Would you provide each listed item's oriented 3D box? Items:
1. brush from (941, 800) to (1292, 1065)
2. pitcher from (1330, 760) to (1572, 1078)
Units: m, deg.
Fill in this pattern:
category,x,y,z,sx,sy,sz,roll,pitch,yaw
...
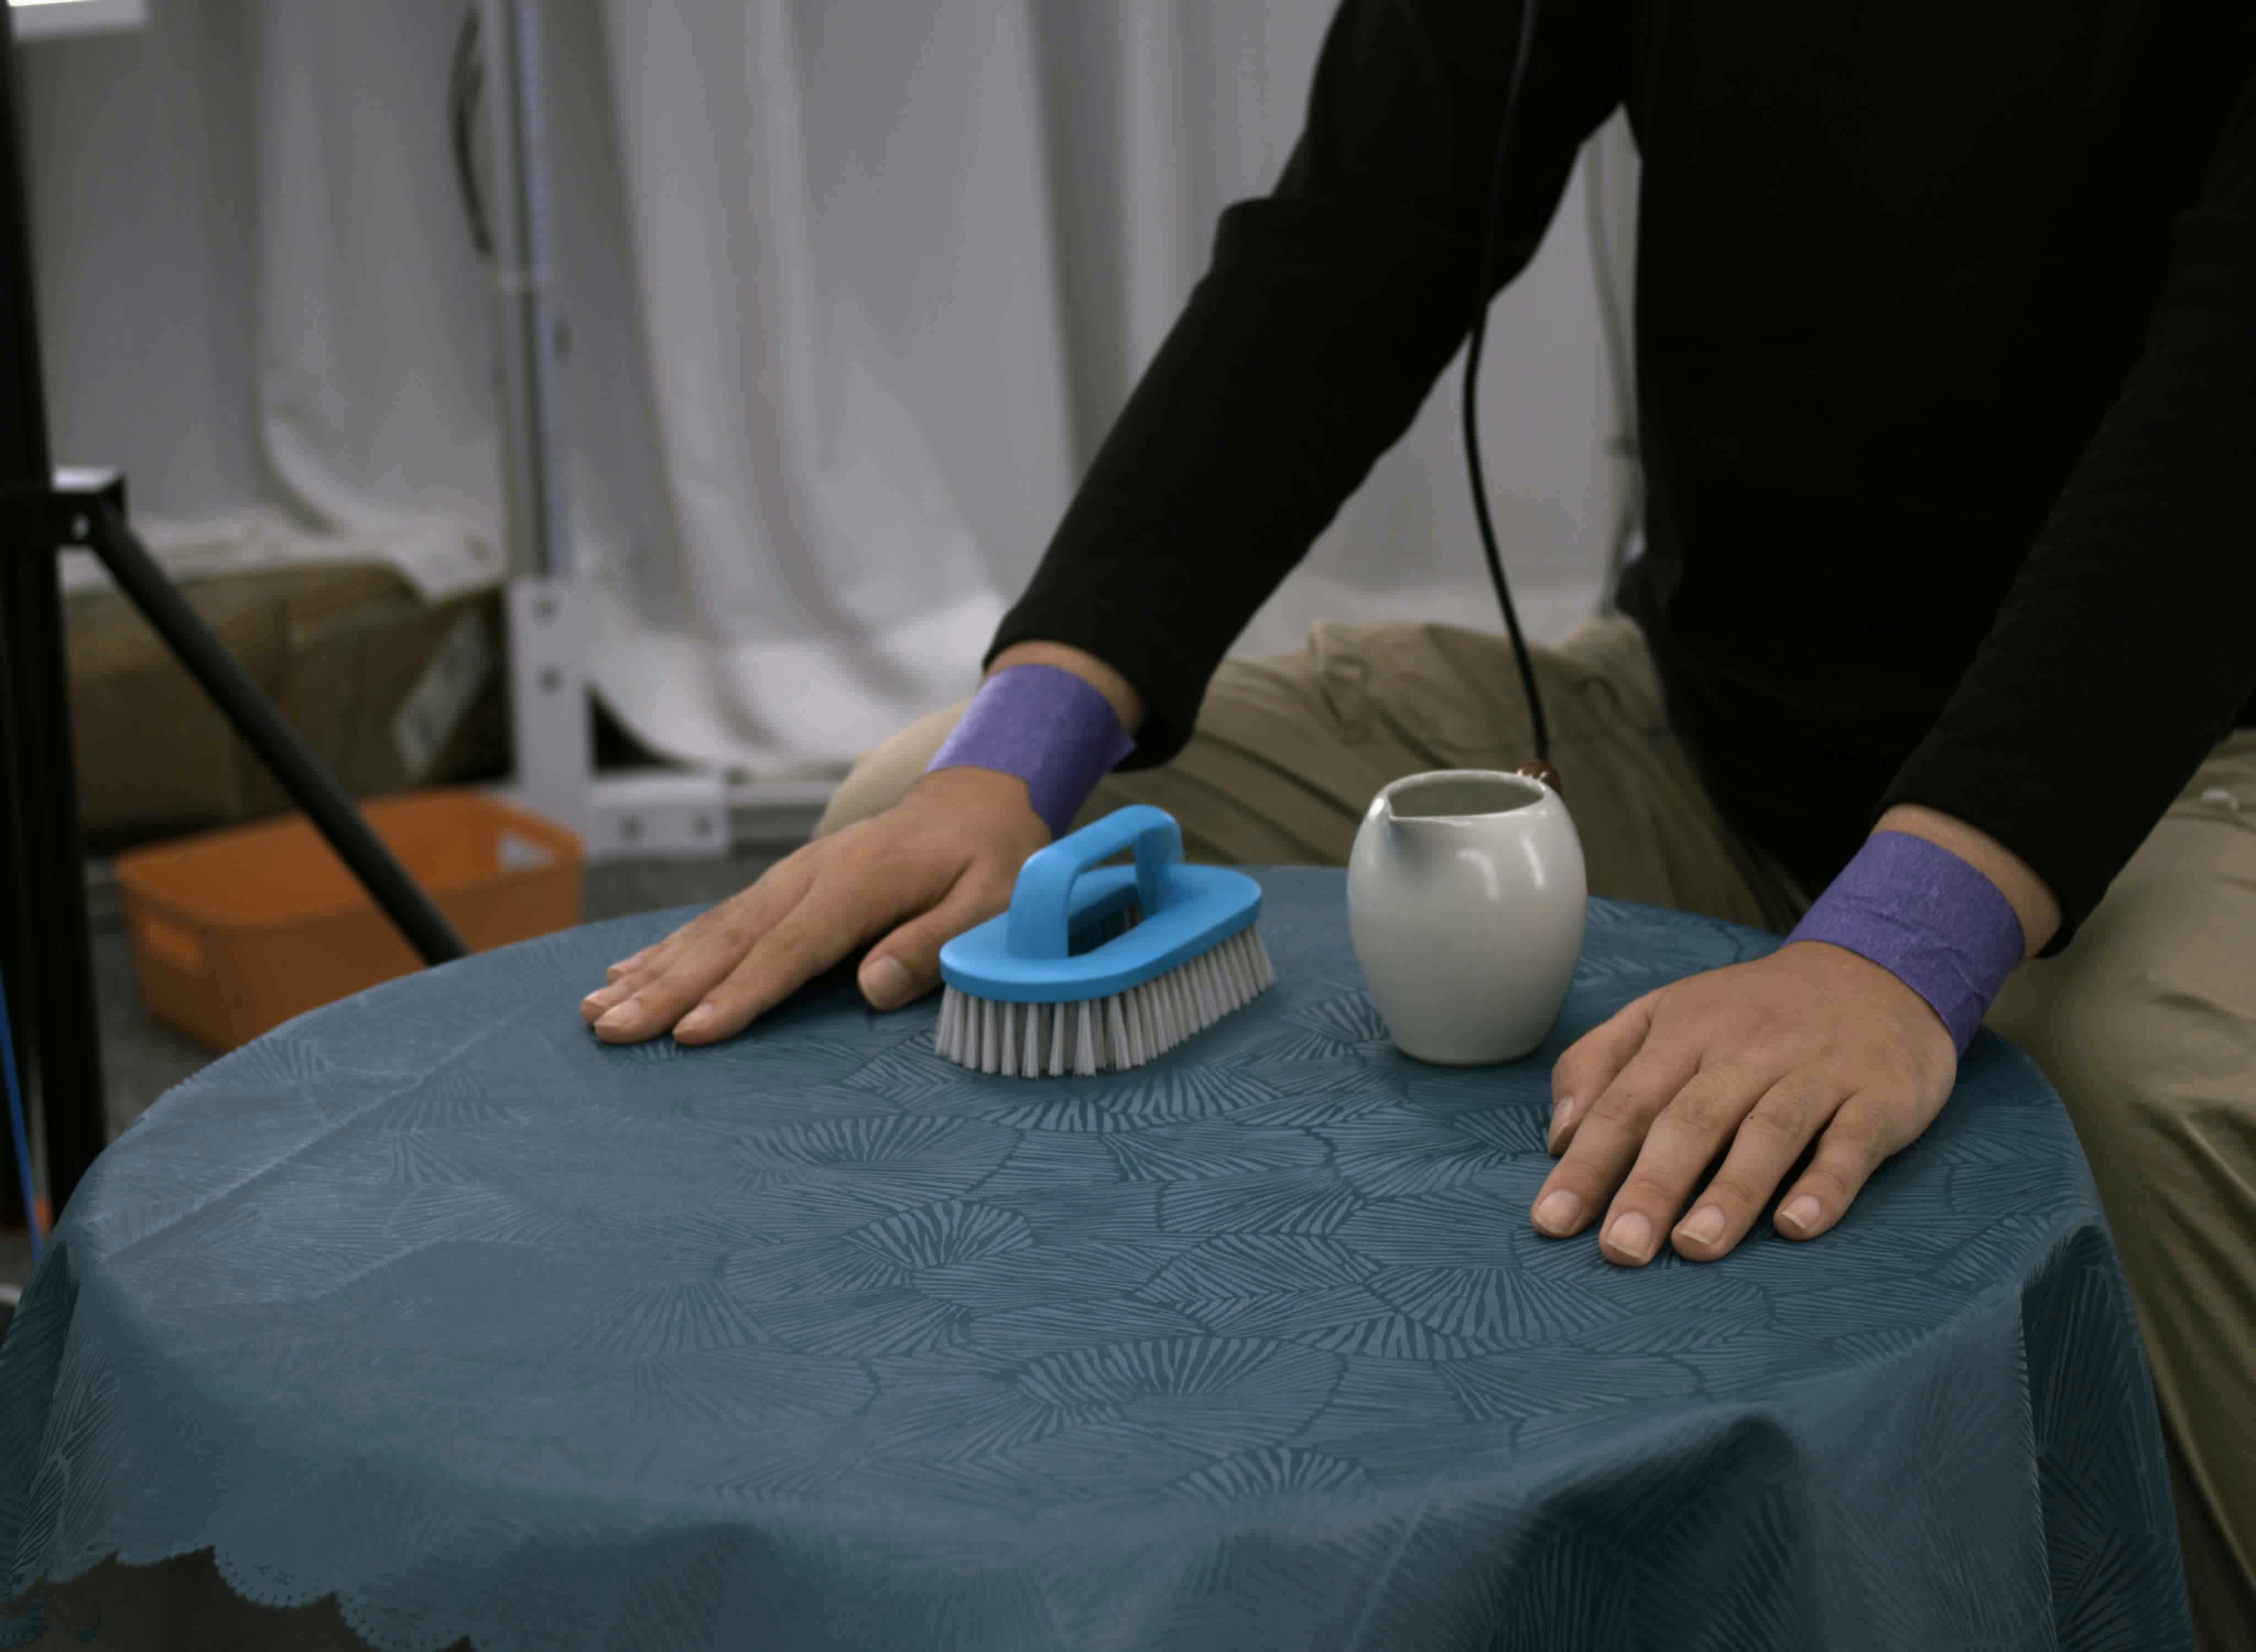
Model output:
category,x,y,z,sx,sy,sz,roll,pitch,yaw
brush,-0.006,0.029,1.717,0.086,0.064,0.139,2,15,32
pitcher,0.105,0.028,1.664,0.077,0.088,0.117,14,26,31
